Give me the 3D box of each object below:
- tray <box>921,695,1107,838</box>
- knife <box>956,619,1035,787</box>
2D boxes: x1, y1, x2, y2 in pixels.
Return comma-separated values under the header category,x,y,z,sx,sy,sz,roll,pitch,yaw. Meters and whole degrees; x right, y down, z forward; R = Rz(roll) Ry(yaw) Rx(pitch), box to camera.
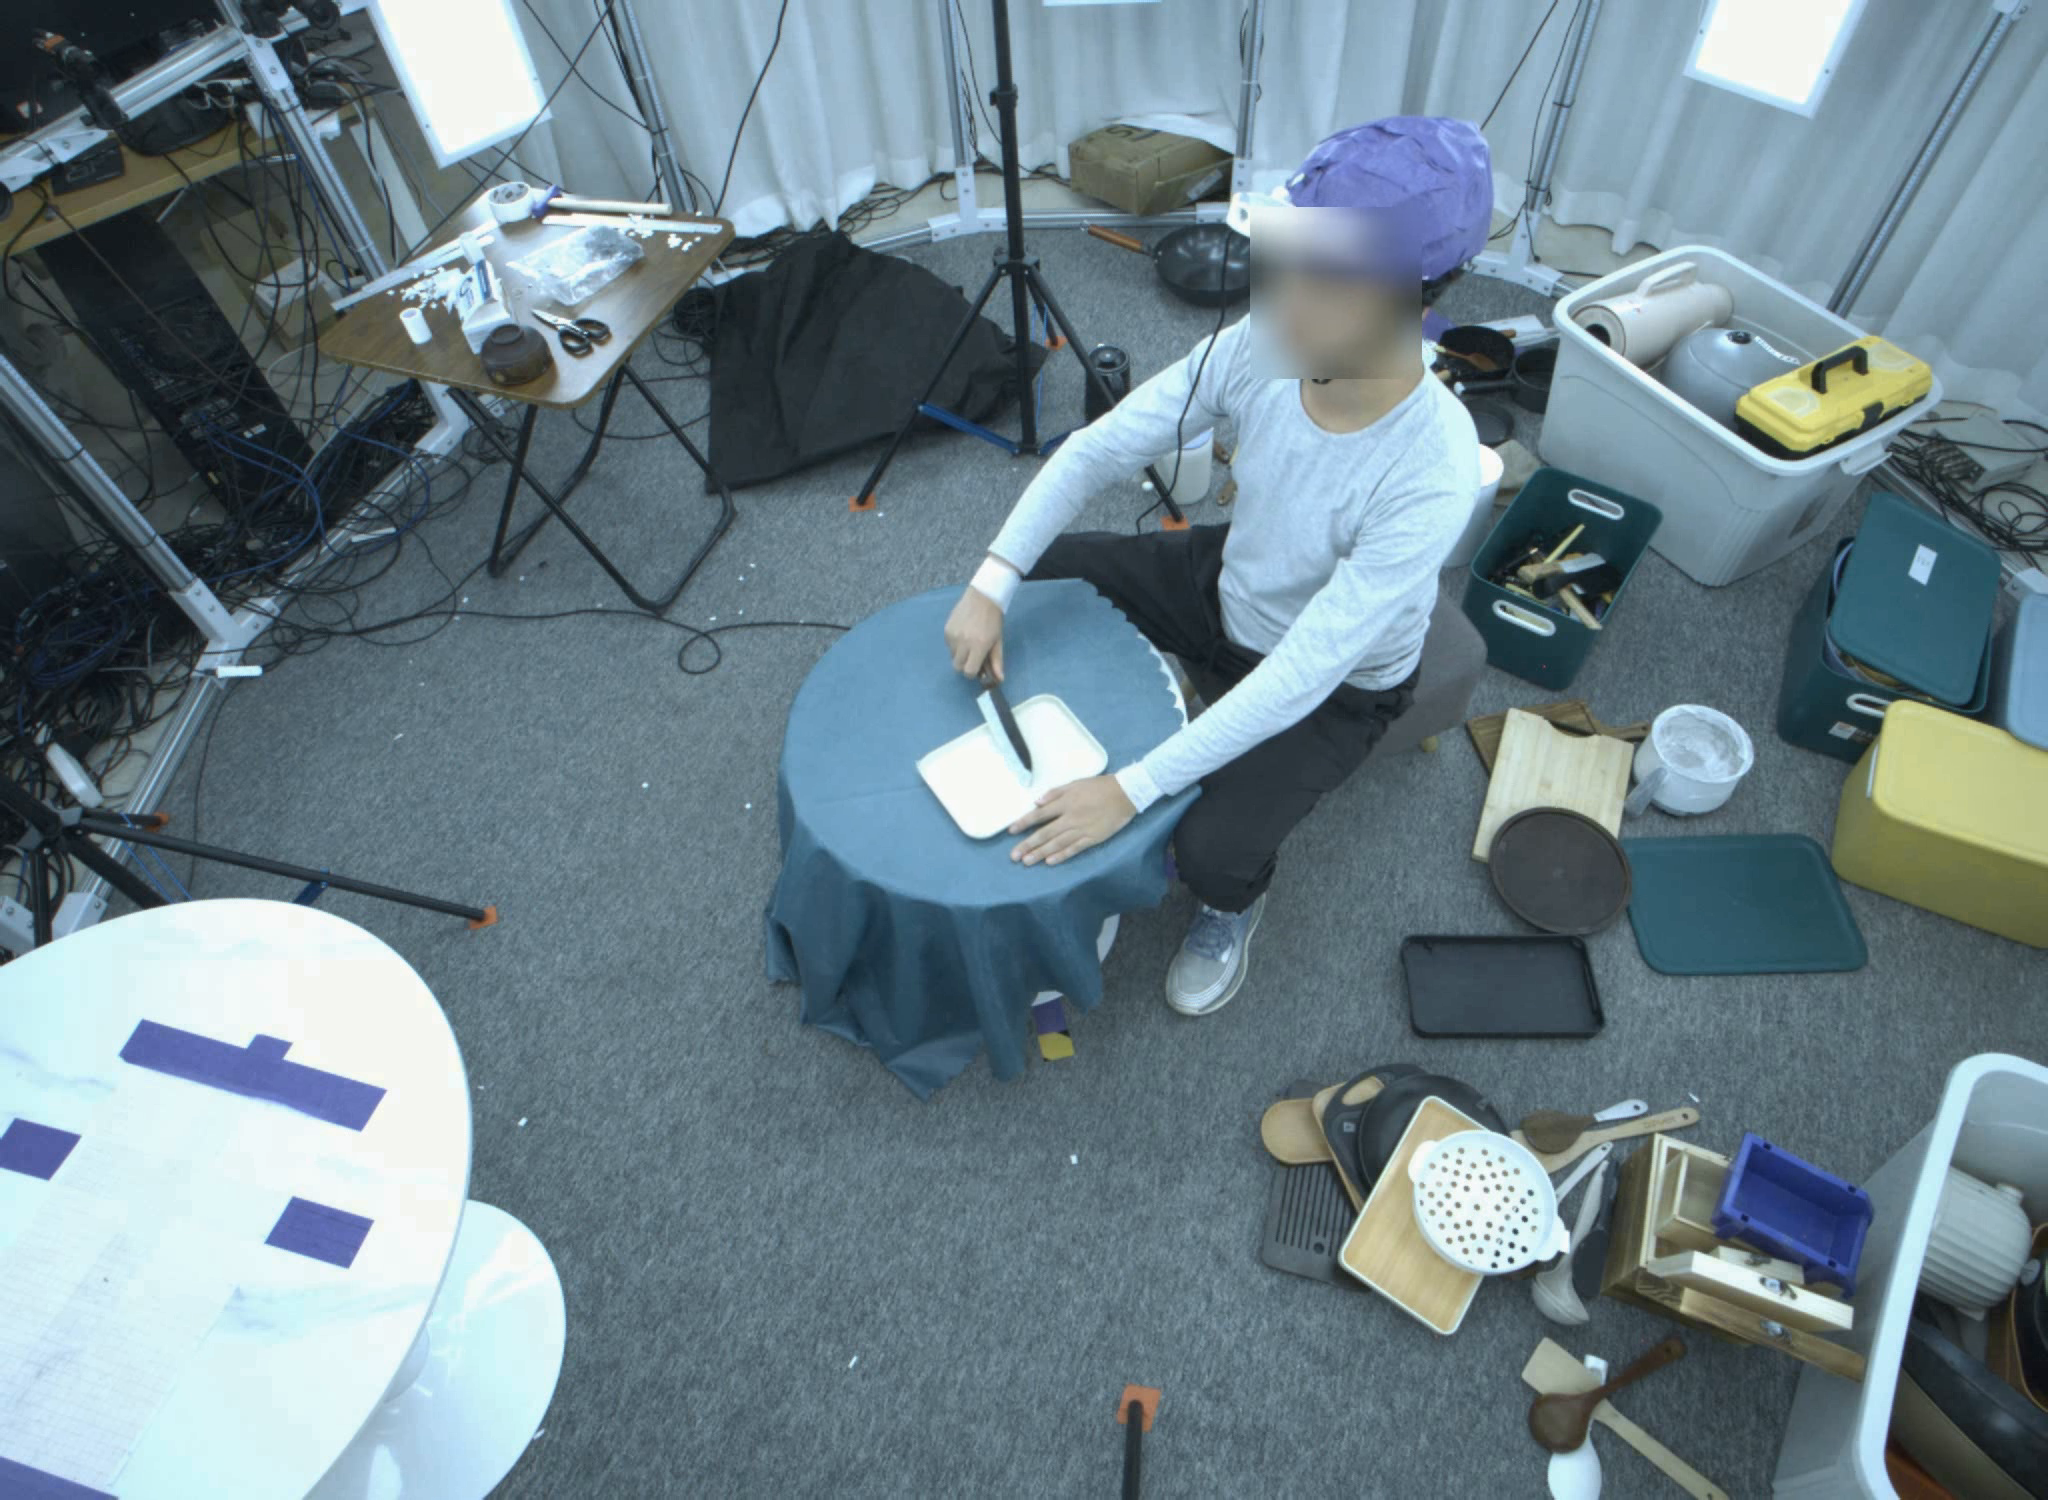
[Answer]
category,x,y,z,sx,sy,sz,roll,pitch,yaw
tray,-0.014,0.022,1.769,0.241,0.017,0.168,-28,59,-18
knife,-0.042,-0.072,1.801,0.050,0.020,0.285,-35,66,28
